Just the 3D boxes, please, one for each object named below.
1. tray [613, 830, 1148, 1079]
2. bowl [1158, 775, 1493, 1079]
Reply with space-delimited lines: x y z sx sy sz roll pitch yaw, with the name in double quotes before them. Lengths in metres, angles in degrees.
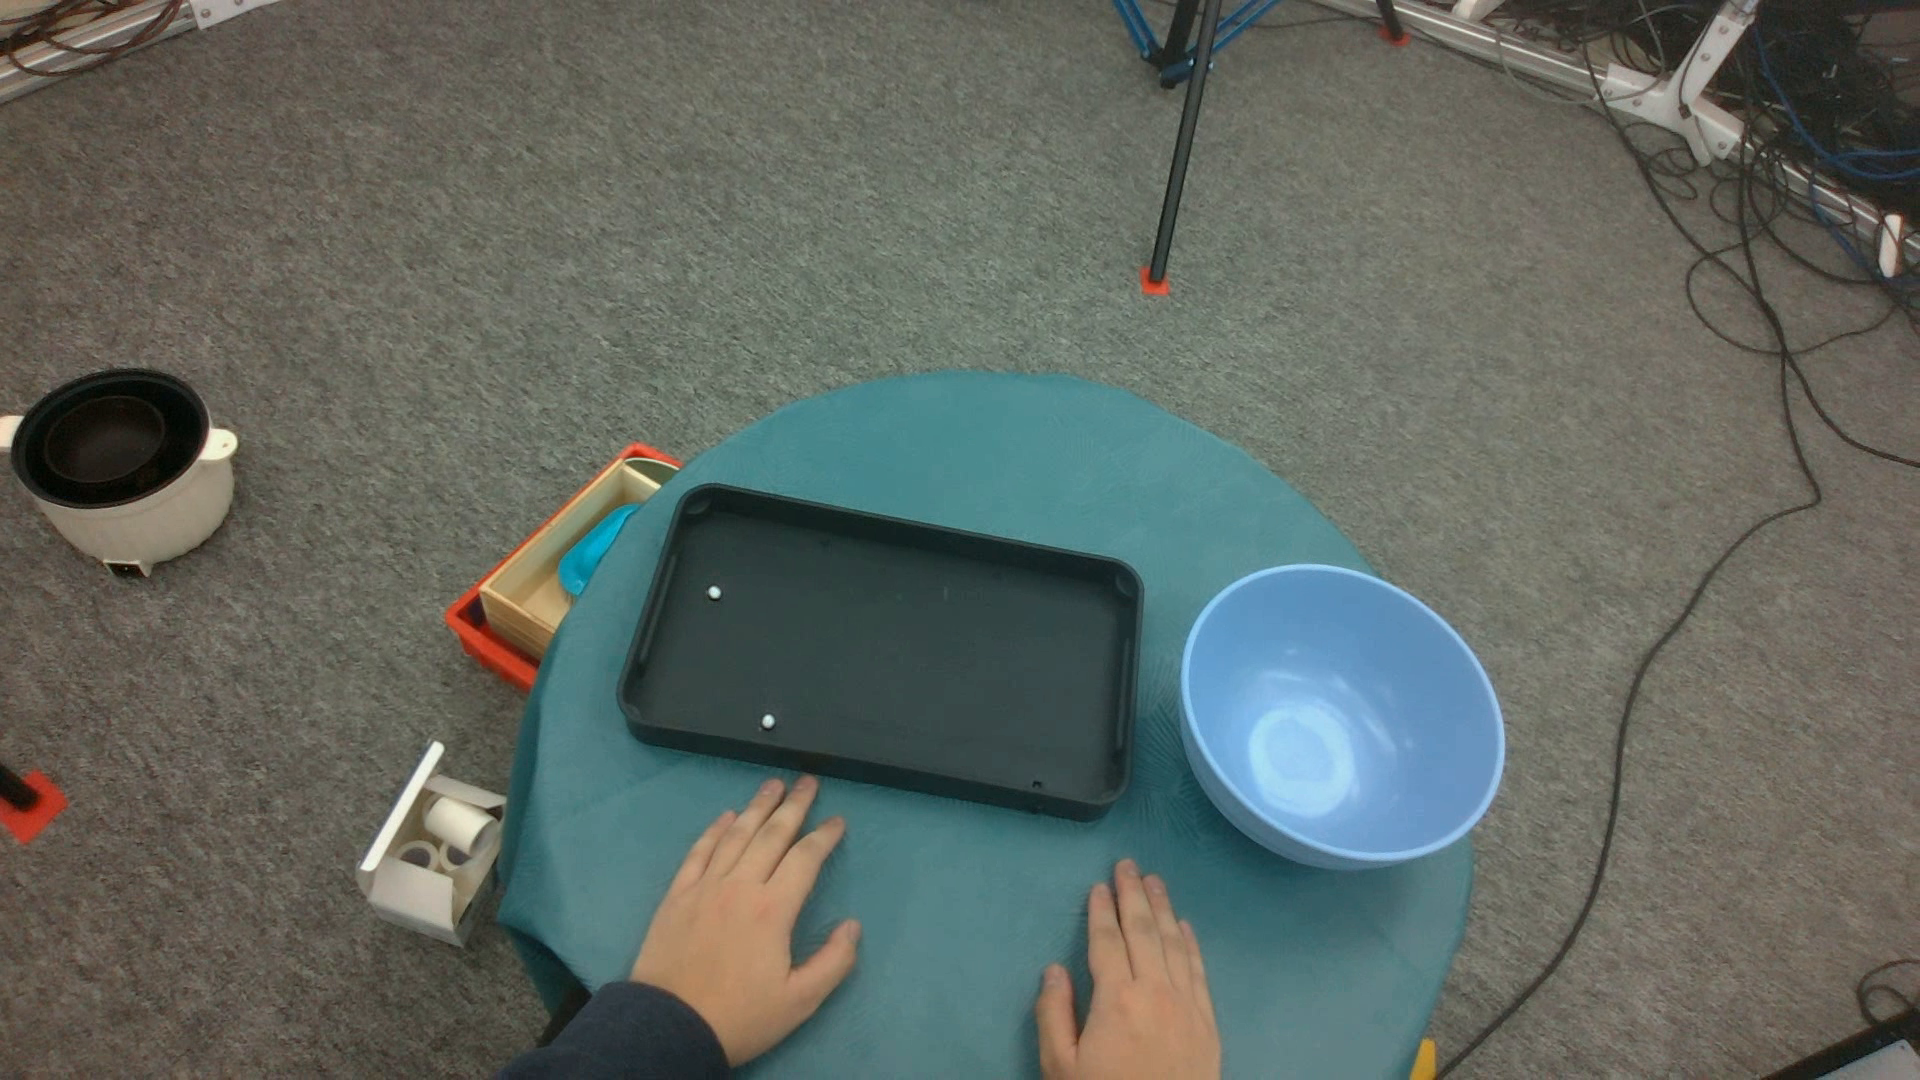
"tray" -0.052 0.282 0.871 0.318 0.037 0.185 -5 42 -3
"bowl" 0.216 0.252 0.851 0.196 0.095 0.197 1 41 0
